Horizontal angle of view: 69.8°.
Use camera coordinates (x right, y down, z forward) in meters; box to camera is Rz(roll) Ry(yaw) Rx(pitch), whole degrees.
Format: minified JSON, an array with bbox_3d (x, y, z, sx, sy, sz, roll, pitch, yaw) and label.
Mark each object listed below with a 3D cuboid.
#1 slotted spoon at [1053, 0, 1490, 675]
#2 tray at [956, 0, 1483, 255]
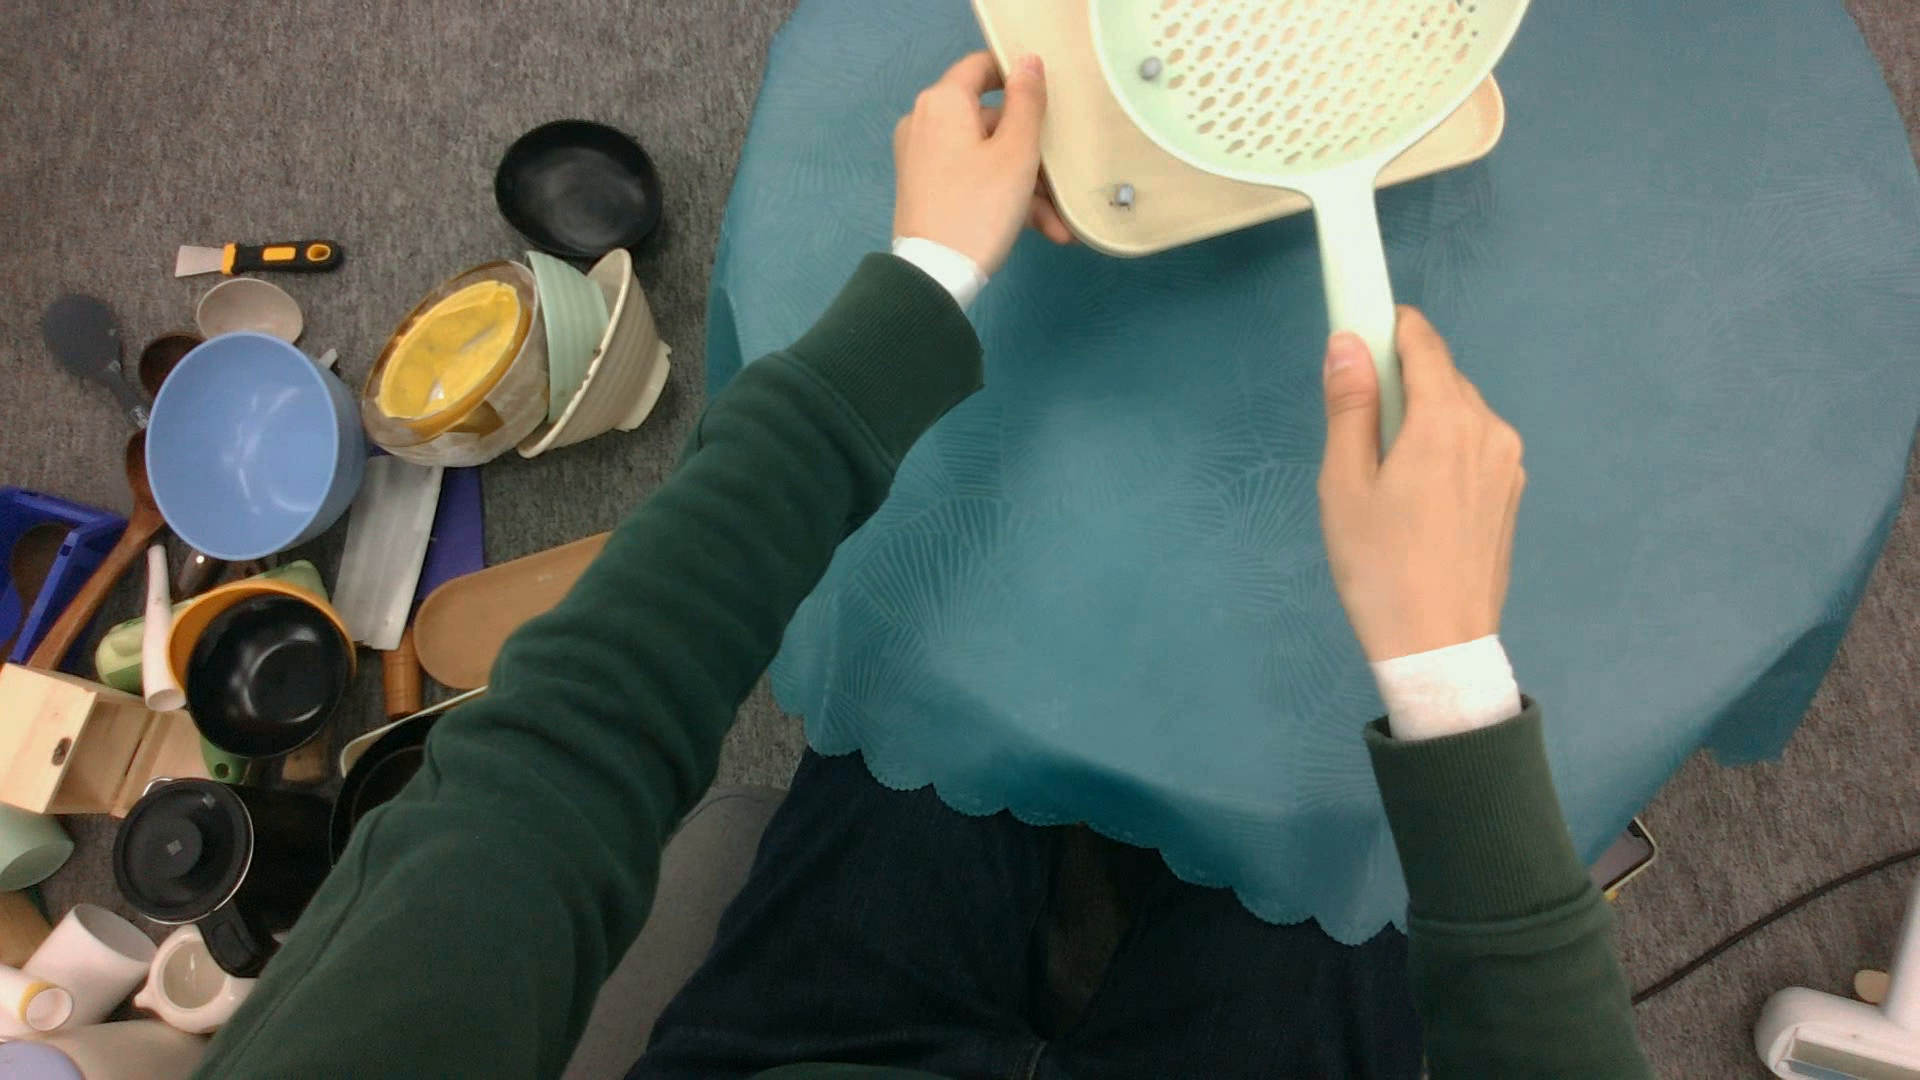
[{"bbox_3d":[0.135,-0.130,0.523,0.169,0.075,0.359,-10,77,20],"label":"slotted spoon"},{"bbox_3d":[0.121,-0.232,0.638,0.240,0.017,0.171,-20,84,-19],"label":"tray"}]
